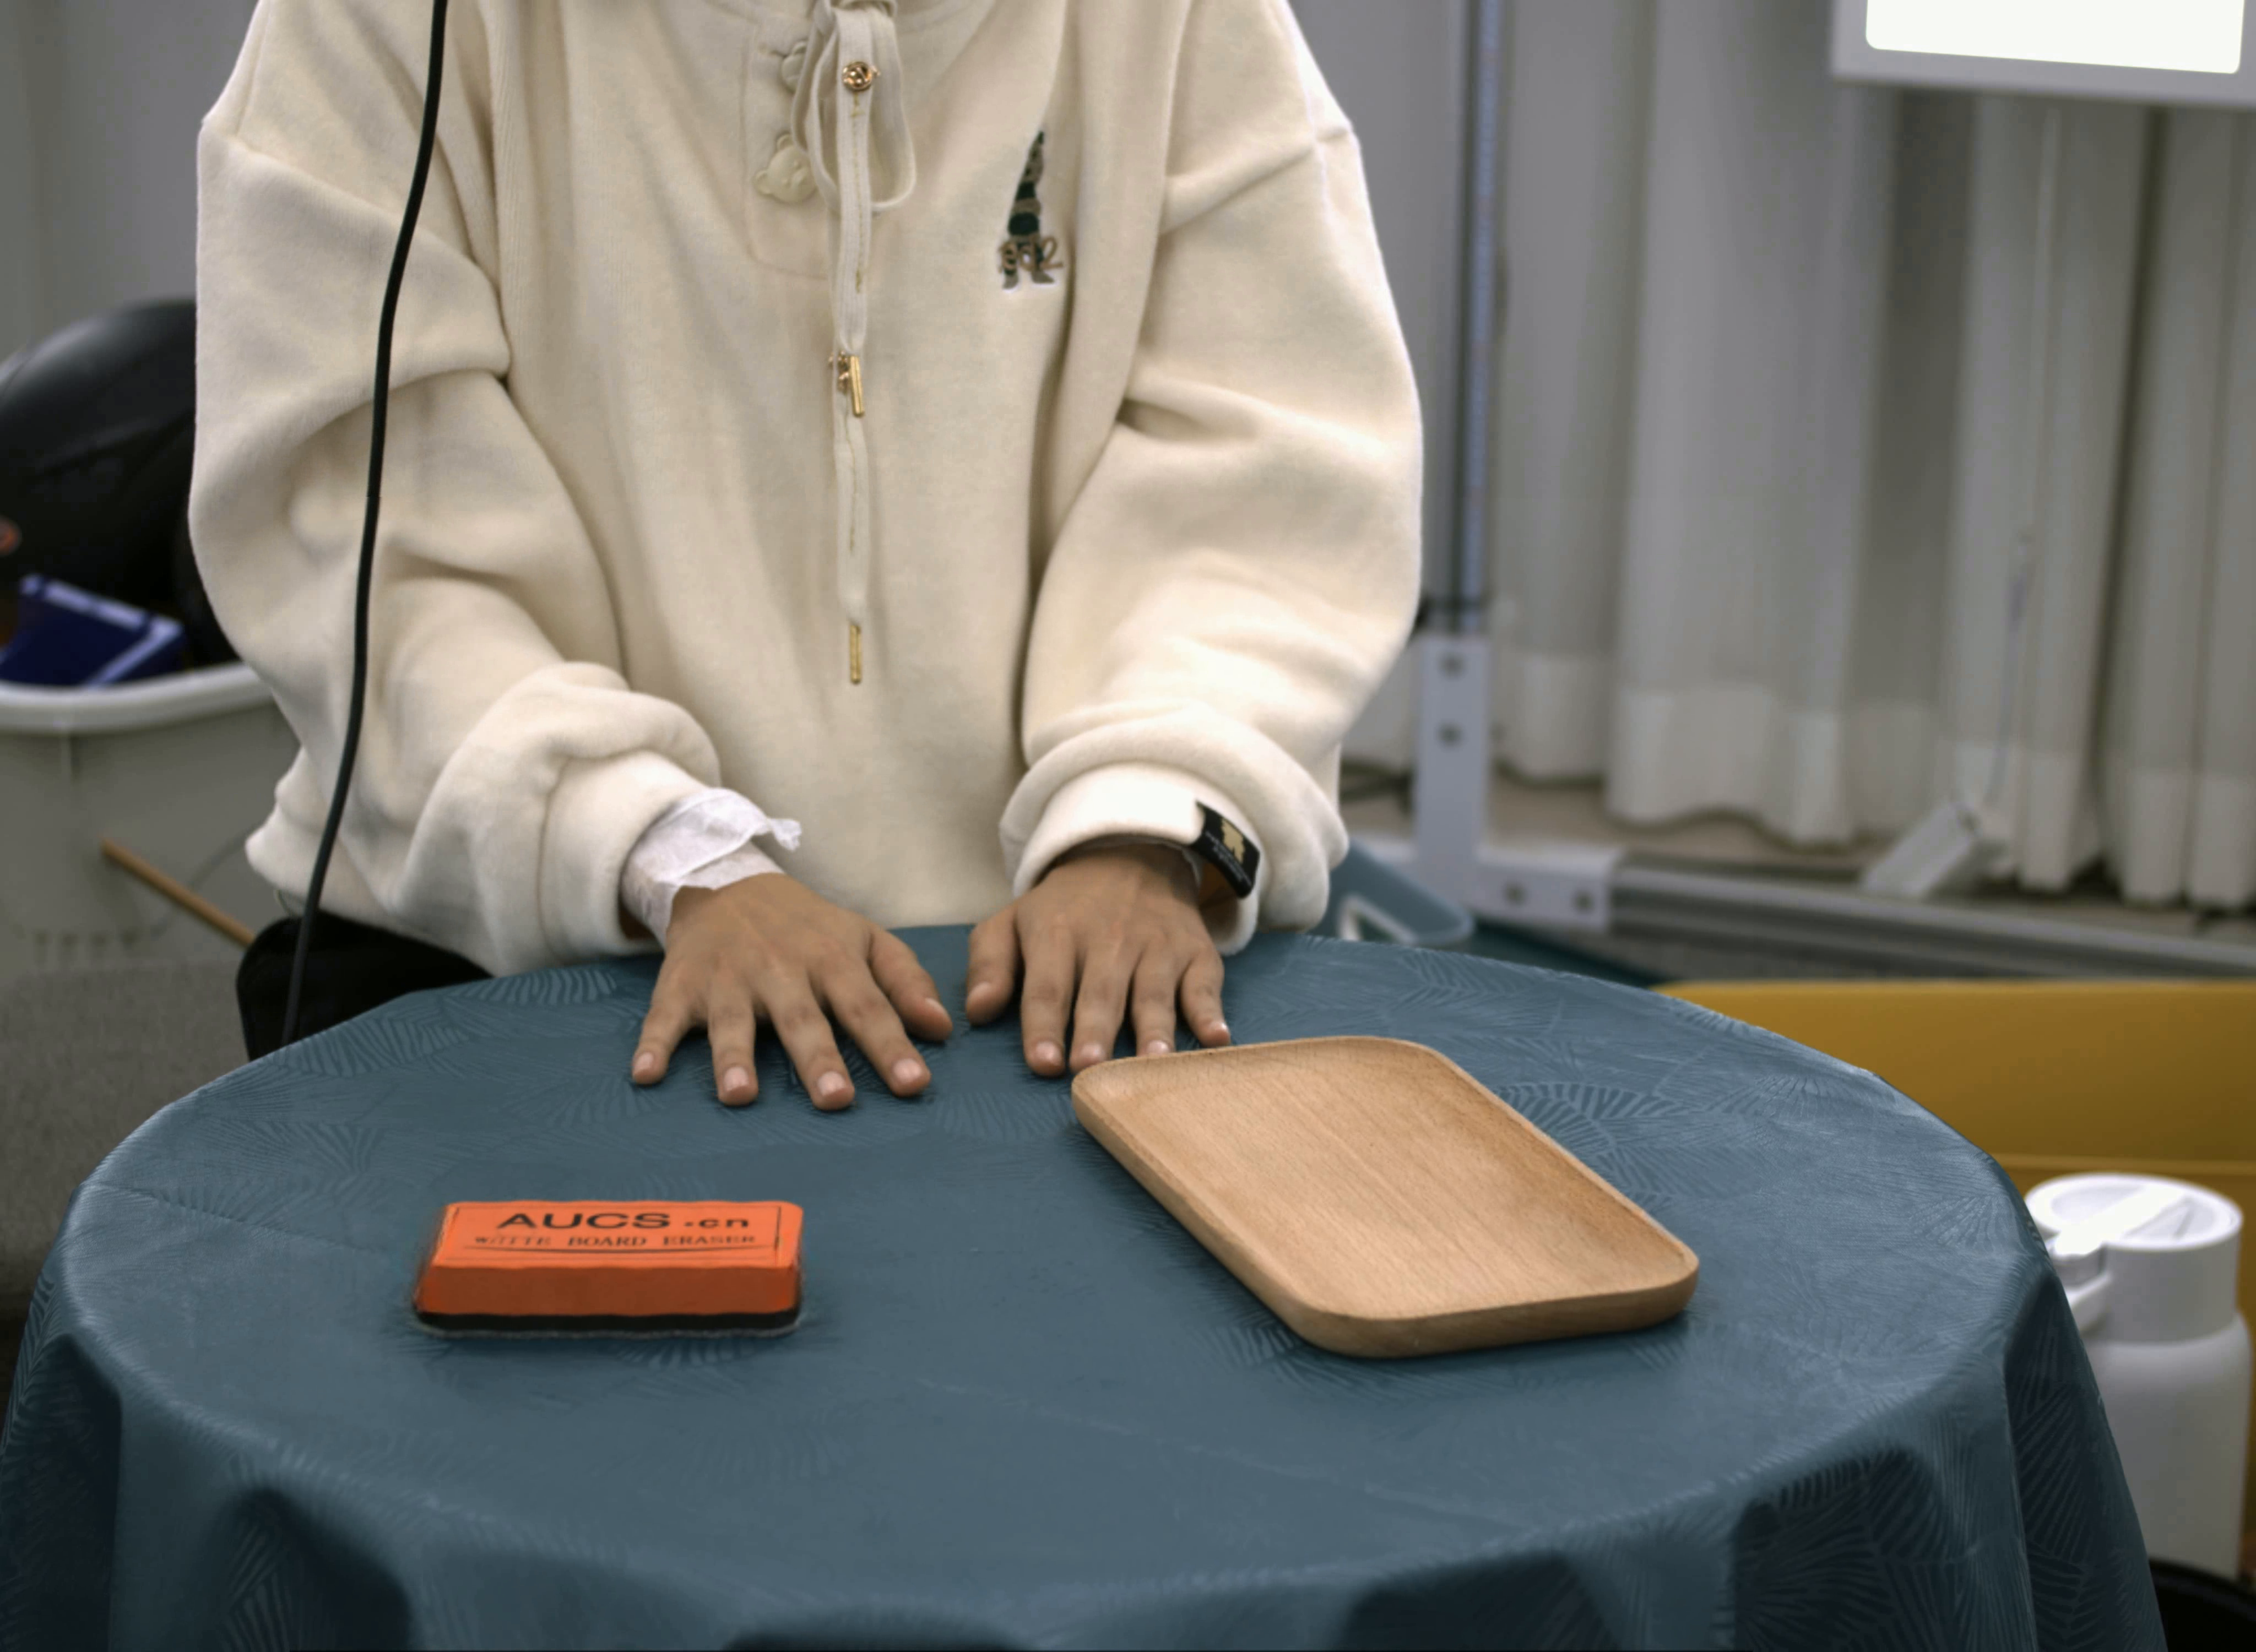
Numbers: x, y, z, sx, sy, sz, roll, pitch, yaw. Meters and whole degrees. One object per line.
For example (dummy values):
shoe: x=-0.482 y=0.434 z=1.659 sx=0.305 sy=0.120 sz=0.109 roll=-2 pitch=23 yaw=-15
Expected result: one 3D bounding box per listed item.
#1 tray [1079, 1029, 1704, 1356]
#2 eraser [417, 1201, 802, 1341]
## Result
tray: x=0.075 y=0.108 z=1.603 sx=0.131 sy=0.023 sz=0.248 roll=-2 pitch=15 yaw=-18
eraser: x=-0.148 y=0.128 z=1.516 sx=0.108 sy=0.023 sz=0.058 roll=1 pitch=16 yaw=-1
